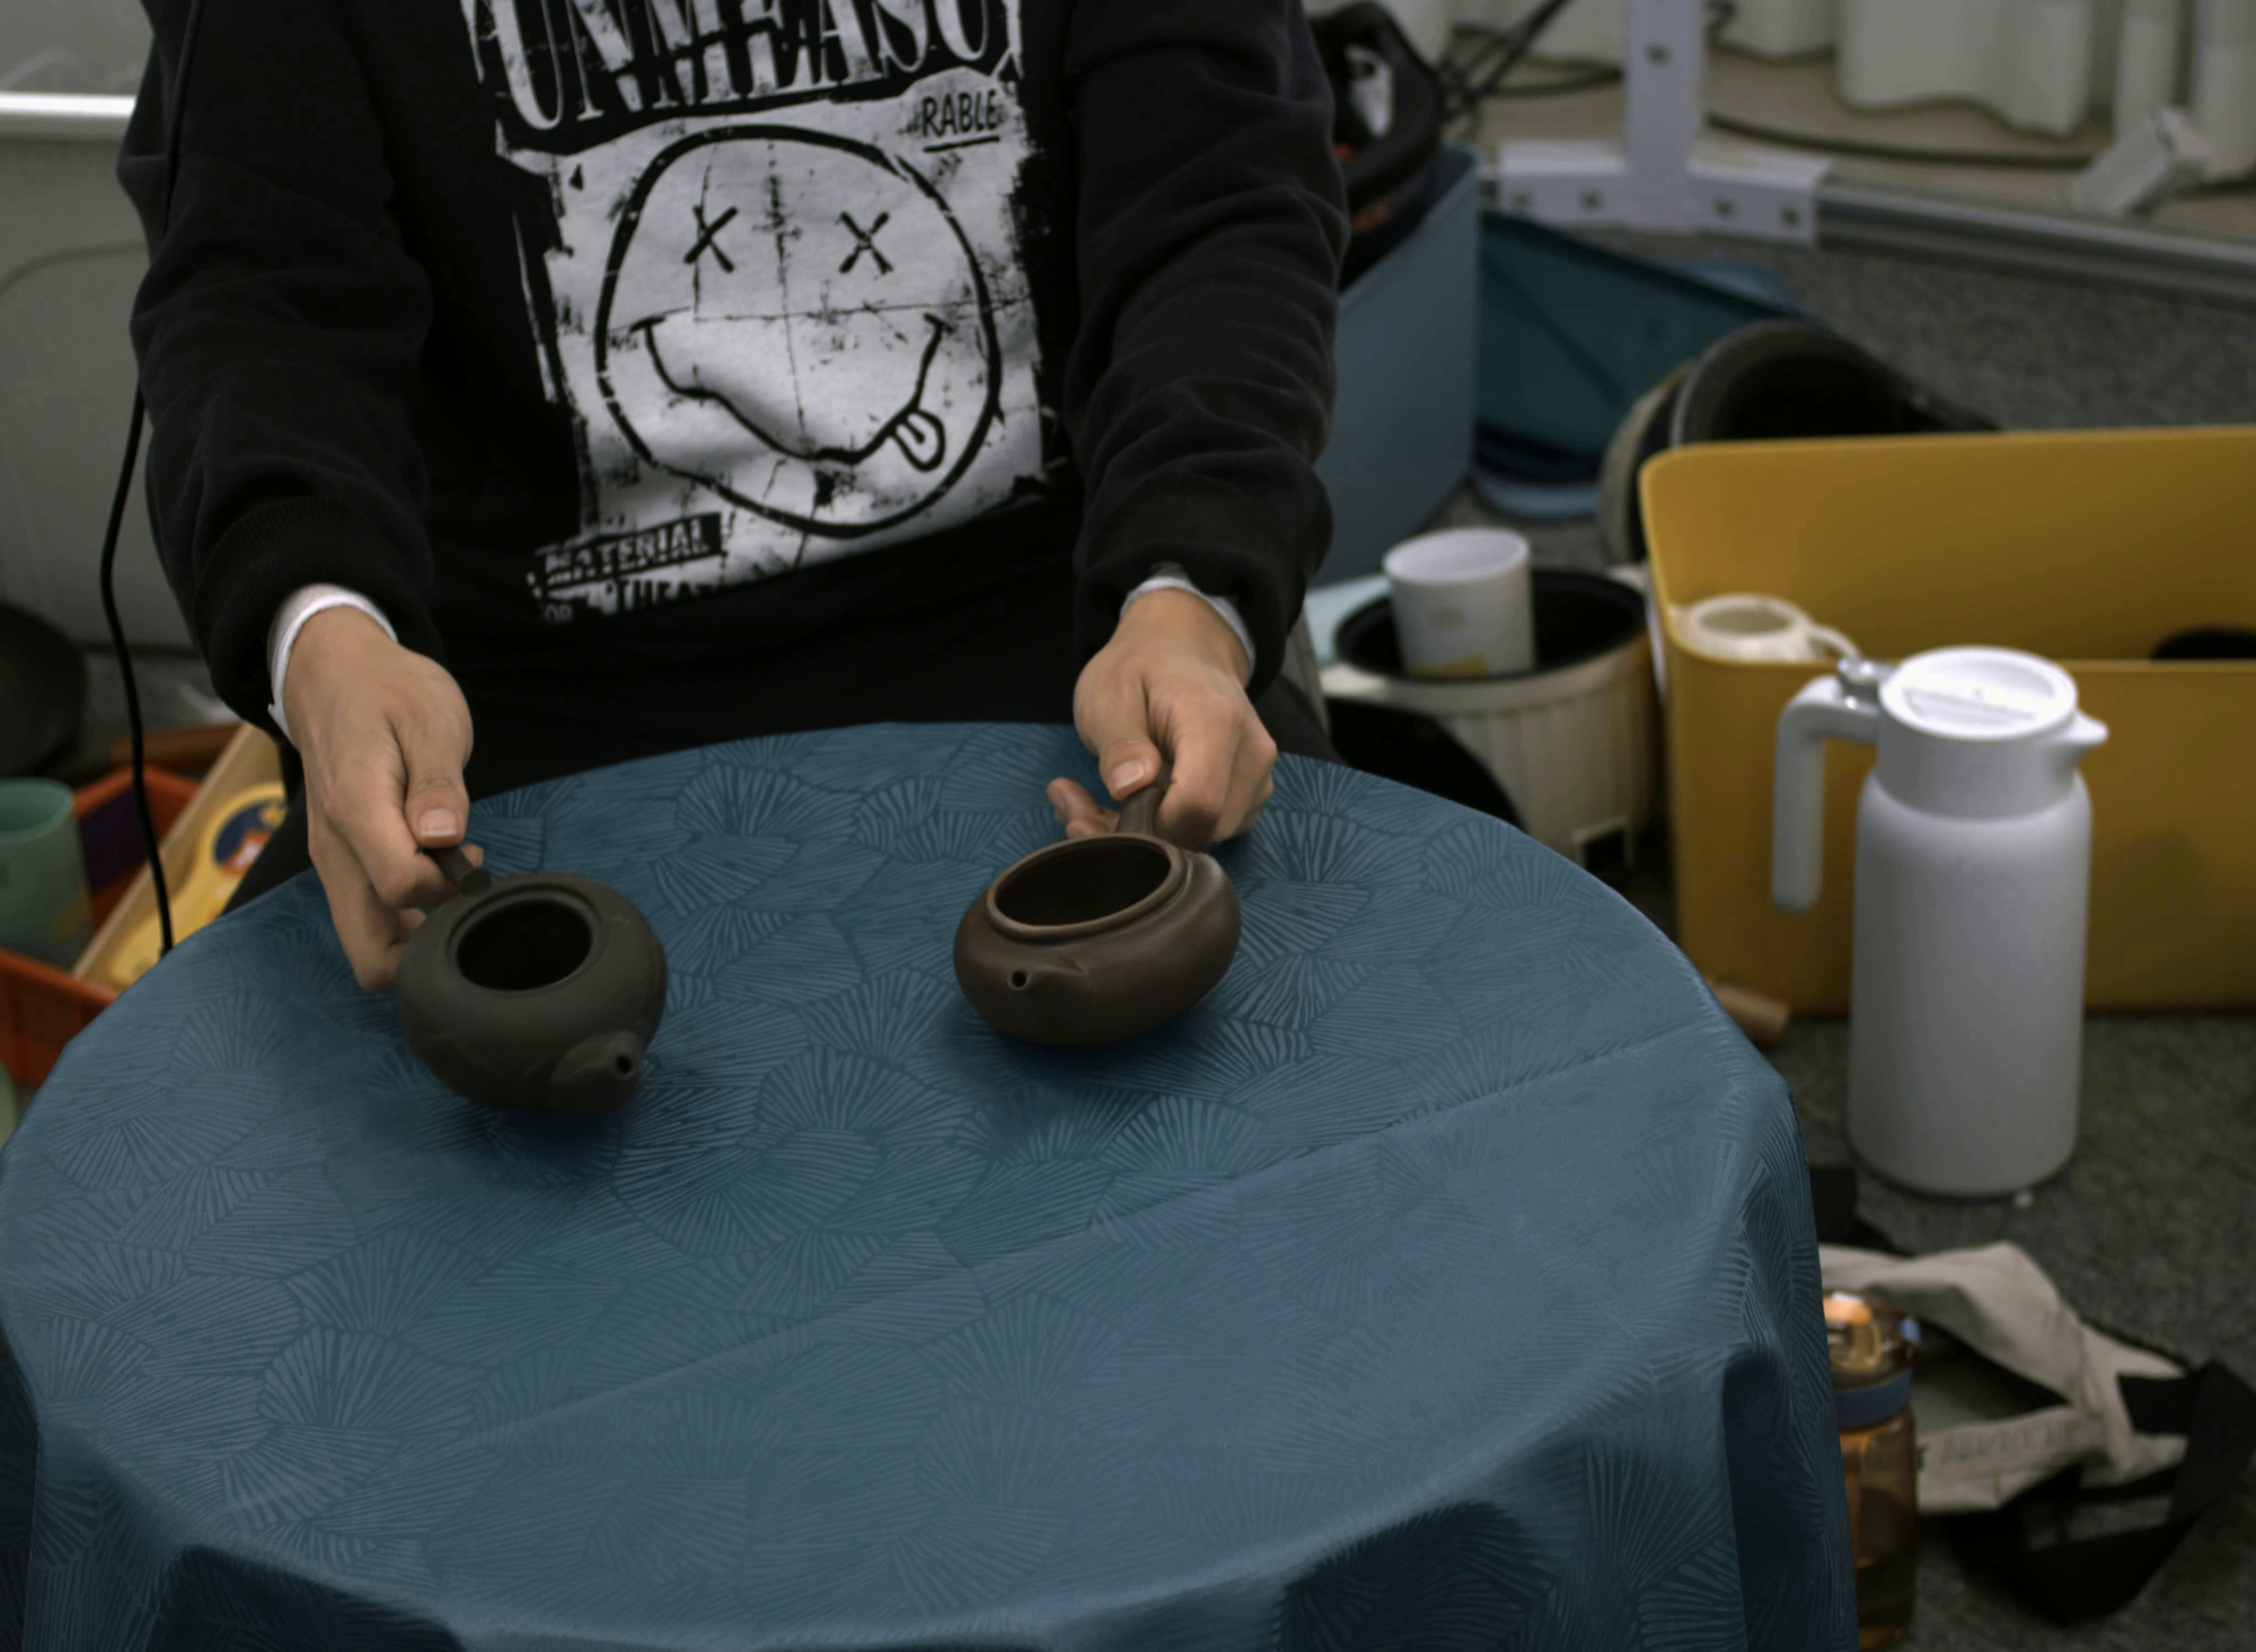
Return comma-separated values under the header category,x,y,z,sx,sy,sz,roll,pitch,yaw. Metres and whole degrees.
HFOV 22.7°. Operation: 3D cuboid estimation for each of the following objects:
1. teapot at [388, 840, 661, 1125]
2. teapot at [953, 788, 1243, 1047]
category,x,y,z,sx,sy,sz,roll,pitch,yaw
teapot,-0.207,0.058,1.917,0.093,0.063,0.155,-21,43,-22
teapot,-0.010,0.036,1.959,0.102,0.053,0.156,-3,27,15
